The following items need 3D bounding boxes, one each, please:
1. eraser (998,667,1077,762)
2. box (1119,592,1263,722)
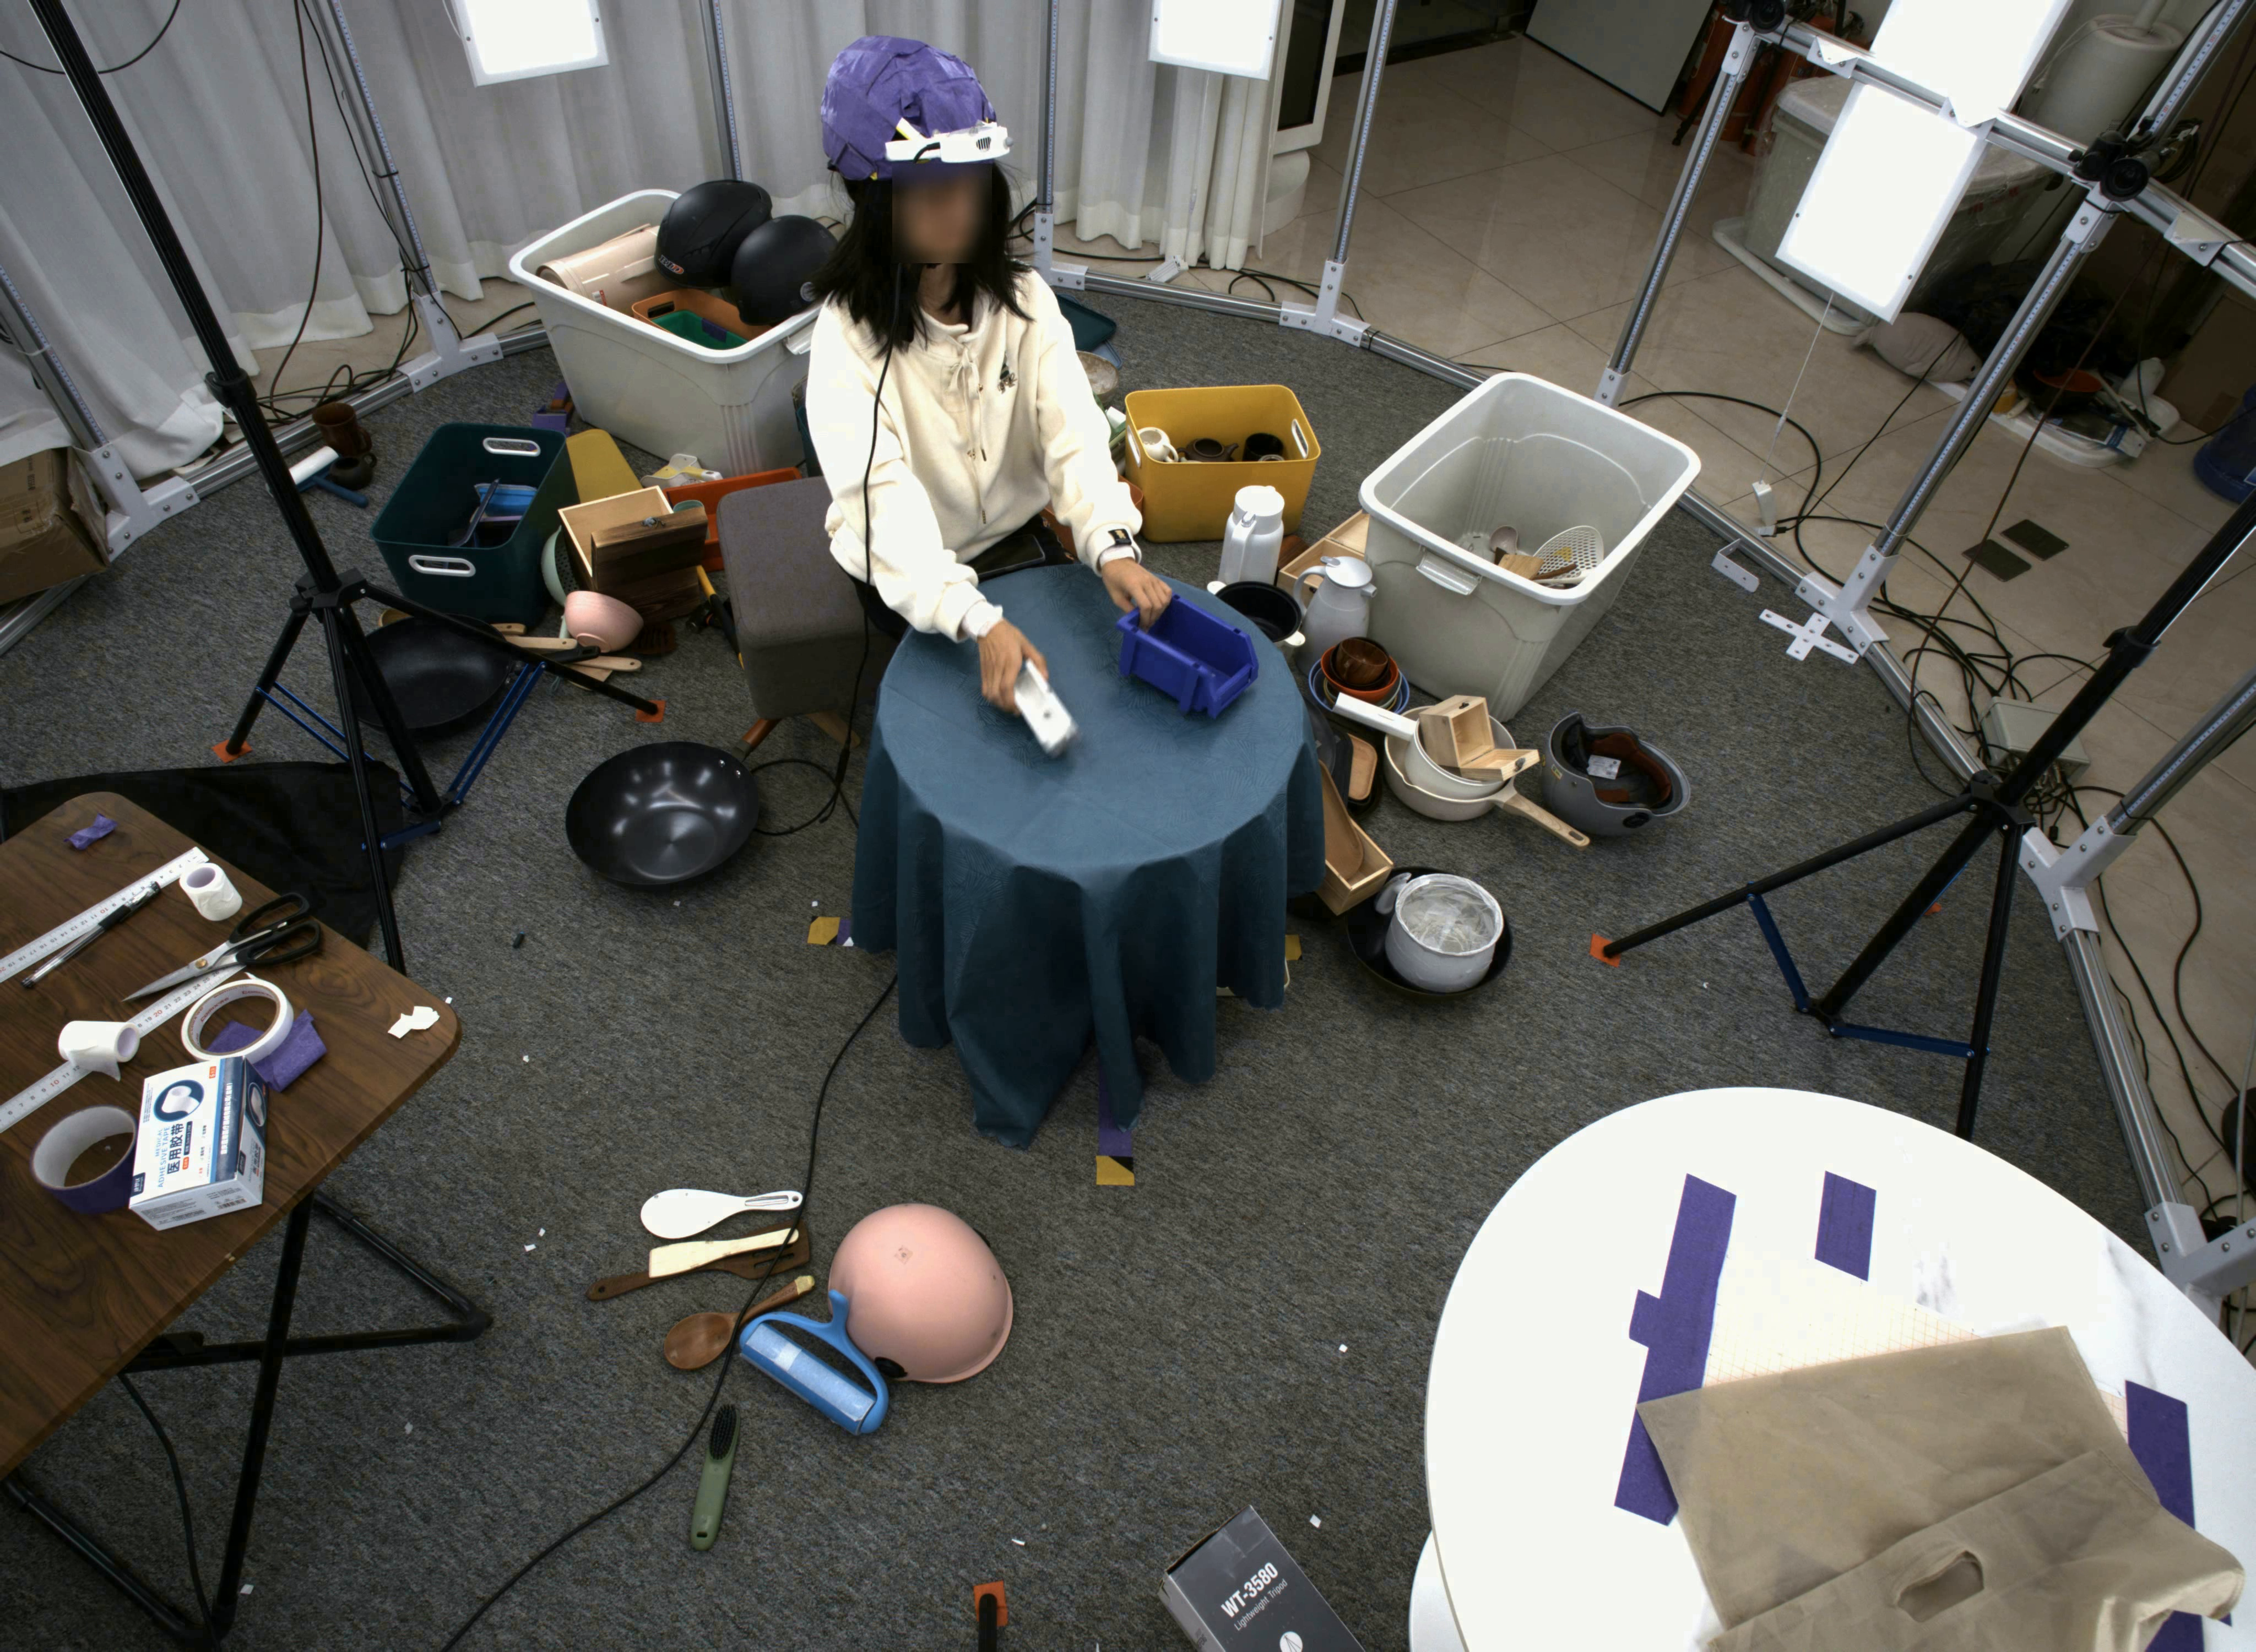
[{"bbox_3d":[-0.122,-0.152,1.745,0.050,0.045,0.137,-35,56,0],"label":"eraser"},{"bbox_3d":[0.091,-0.237,1.822,0.181,0.080,0.126,32,50,21],"label":"box"}]
